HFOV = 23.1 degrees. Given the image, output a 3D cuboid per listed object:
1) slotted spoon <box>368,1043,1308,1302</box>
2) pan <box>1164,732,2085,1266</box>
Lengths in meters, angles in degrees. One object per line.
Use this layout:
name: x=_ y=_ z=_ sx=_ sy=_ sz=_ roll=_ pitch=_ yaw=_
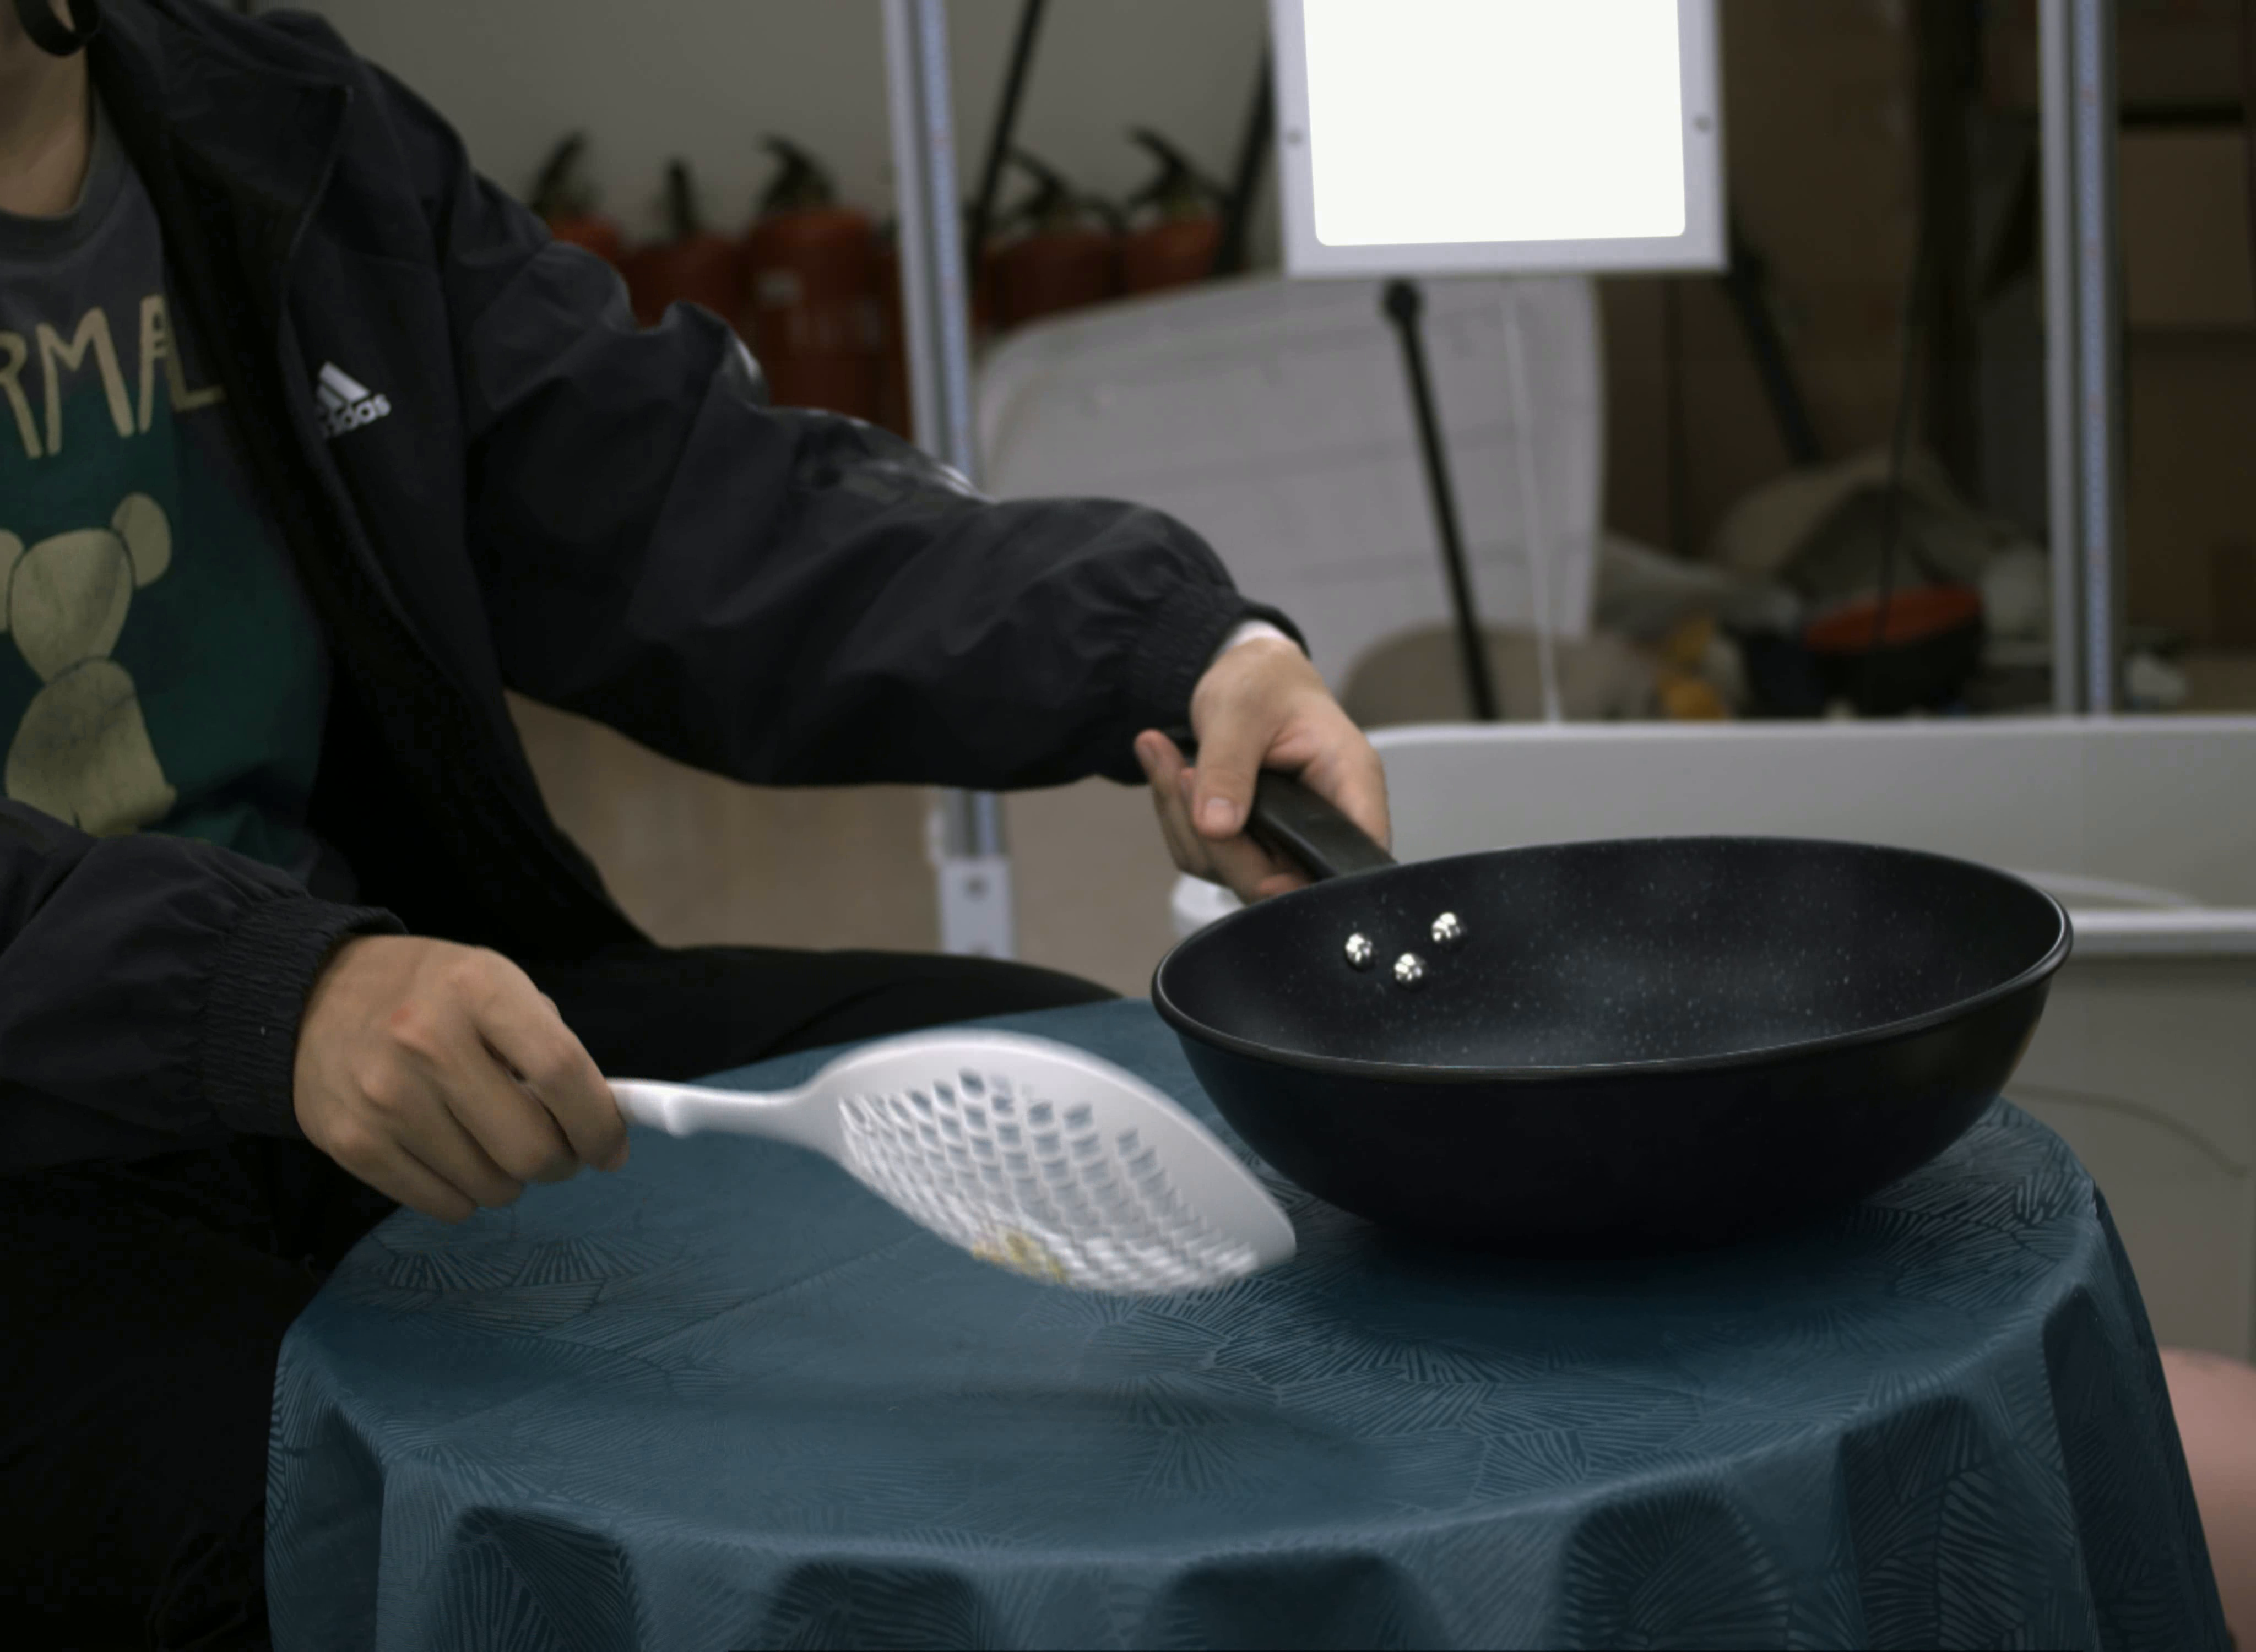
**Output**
slotted spoon: x=-0.102 y=0.106 z=1.722 sx=0.355 sy=0.050 sz=0.135 roll=7 pitch=-27 yaw=40
pan: x=0.131 y=0.058 z=1.910 sx=0.304 sy=0.112 sz=0.484 roll=-10 pitch=14 yaw=-24
